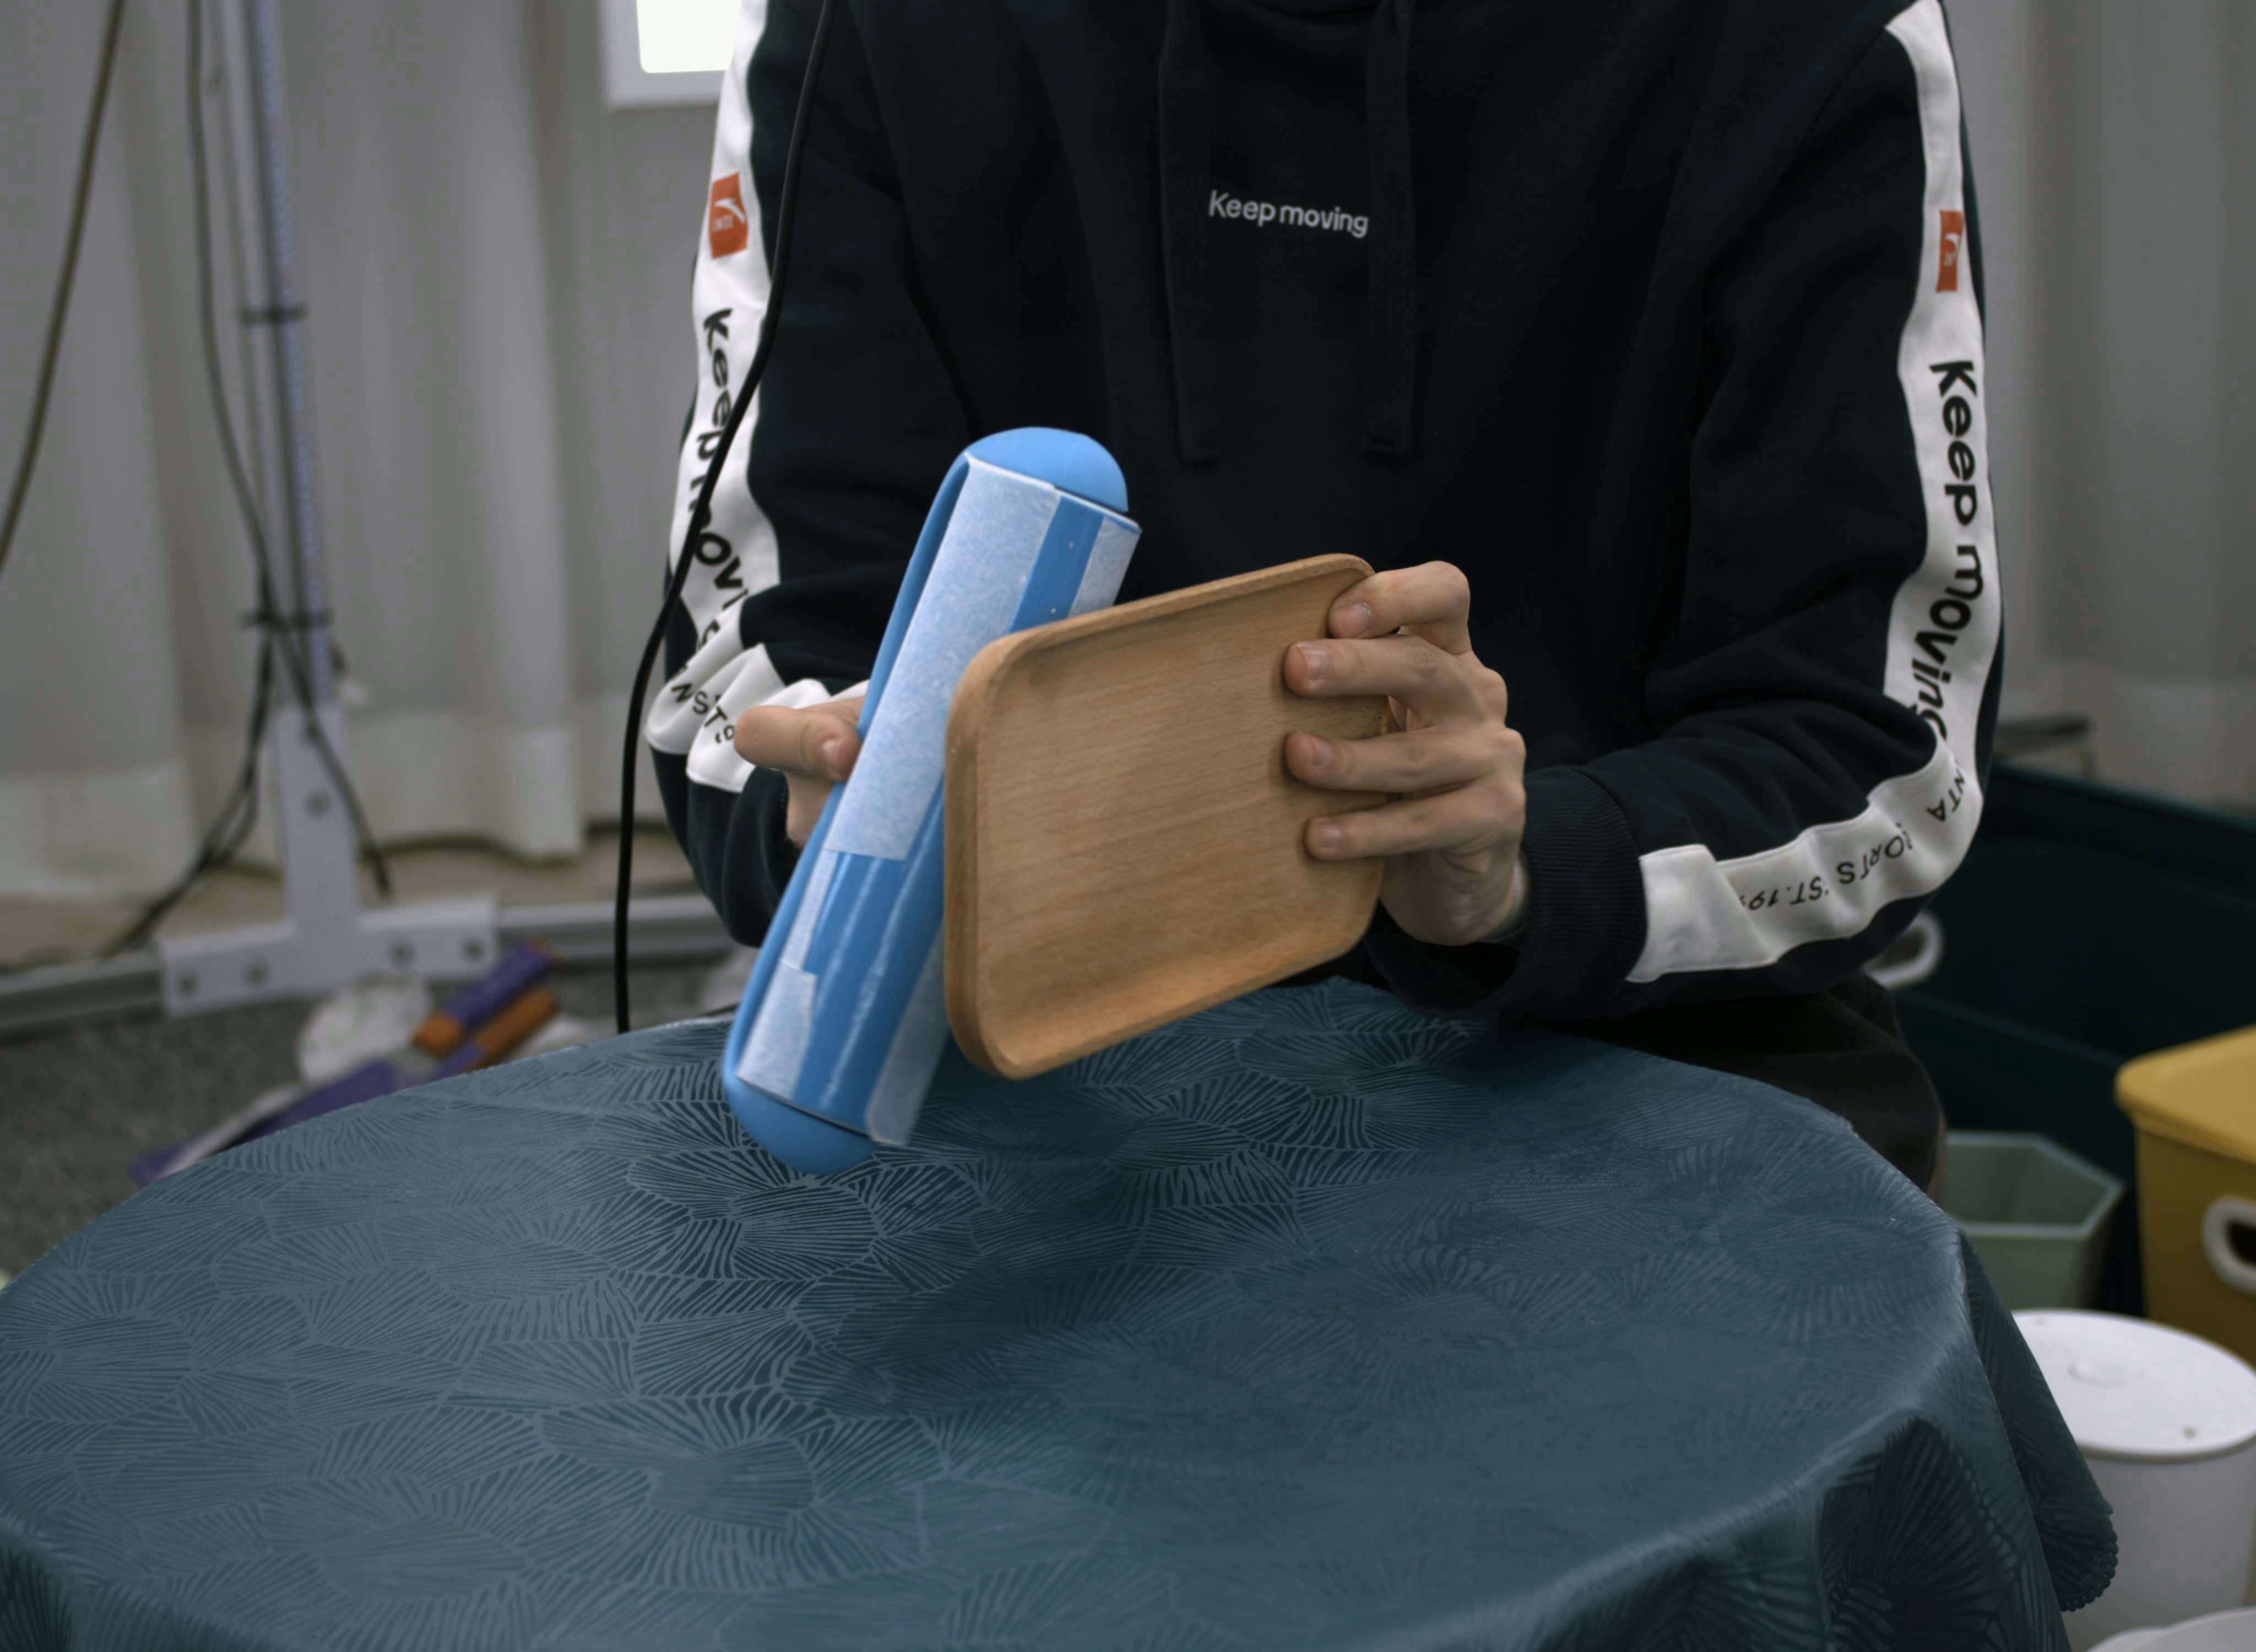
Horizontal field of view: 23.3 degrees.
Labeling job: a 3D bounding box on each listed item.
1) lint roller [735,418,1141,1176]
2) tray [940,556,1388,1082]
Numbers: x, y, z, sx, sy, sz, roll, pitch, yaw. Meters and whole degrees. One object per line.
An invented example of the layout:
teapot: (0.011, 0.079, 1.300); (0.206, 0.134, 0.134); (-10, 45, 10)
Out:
lint roller: (-0.055, -0.006, 1.642); (0.068, 0.230, 0.180); (19, -4, 0)
tray: (0.013, -0.006, 1.607); (0.023, 0.130, 0.250); (10, 12, 27)
